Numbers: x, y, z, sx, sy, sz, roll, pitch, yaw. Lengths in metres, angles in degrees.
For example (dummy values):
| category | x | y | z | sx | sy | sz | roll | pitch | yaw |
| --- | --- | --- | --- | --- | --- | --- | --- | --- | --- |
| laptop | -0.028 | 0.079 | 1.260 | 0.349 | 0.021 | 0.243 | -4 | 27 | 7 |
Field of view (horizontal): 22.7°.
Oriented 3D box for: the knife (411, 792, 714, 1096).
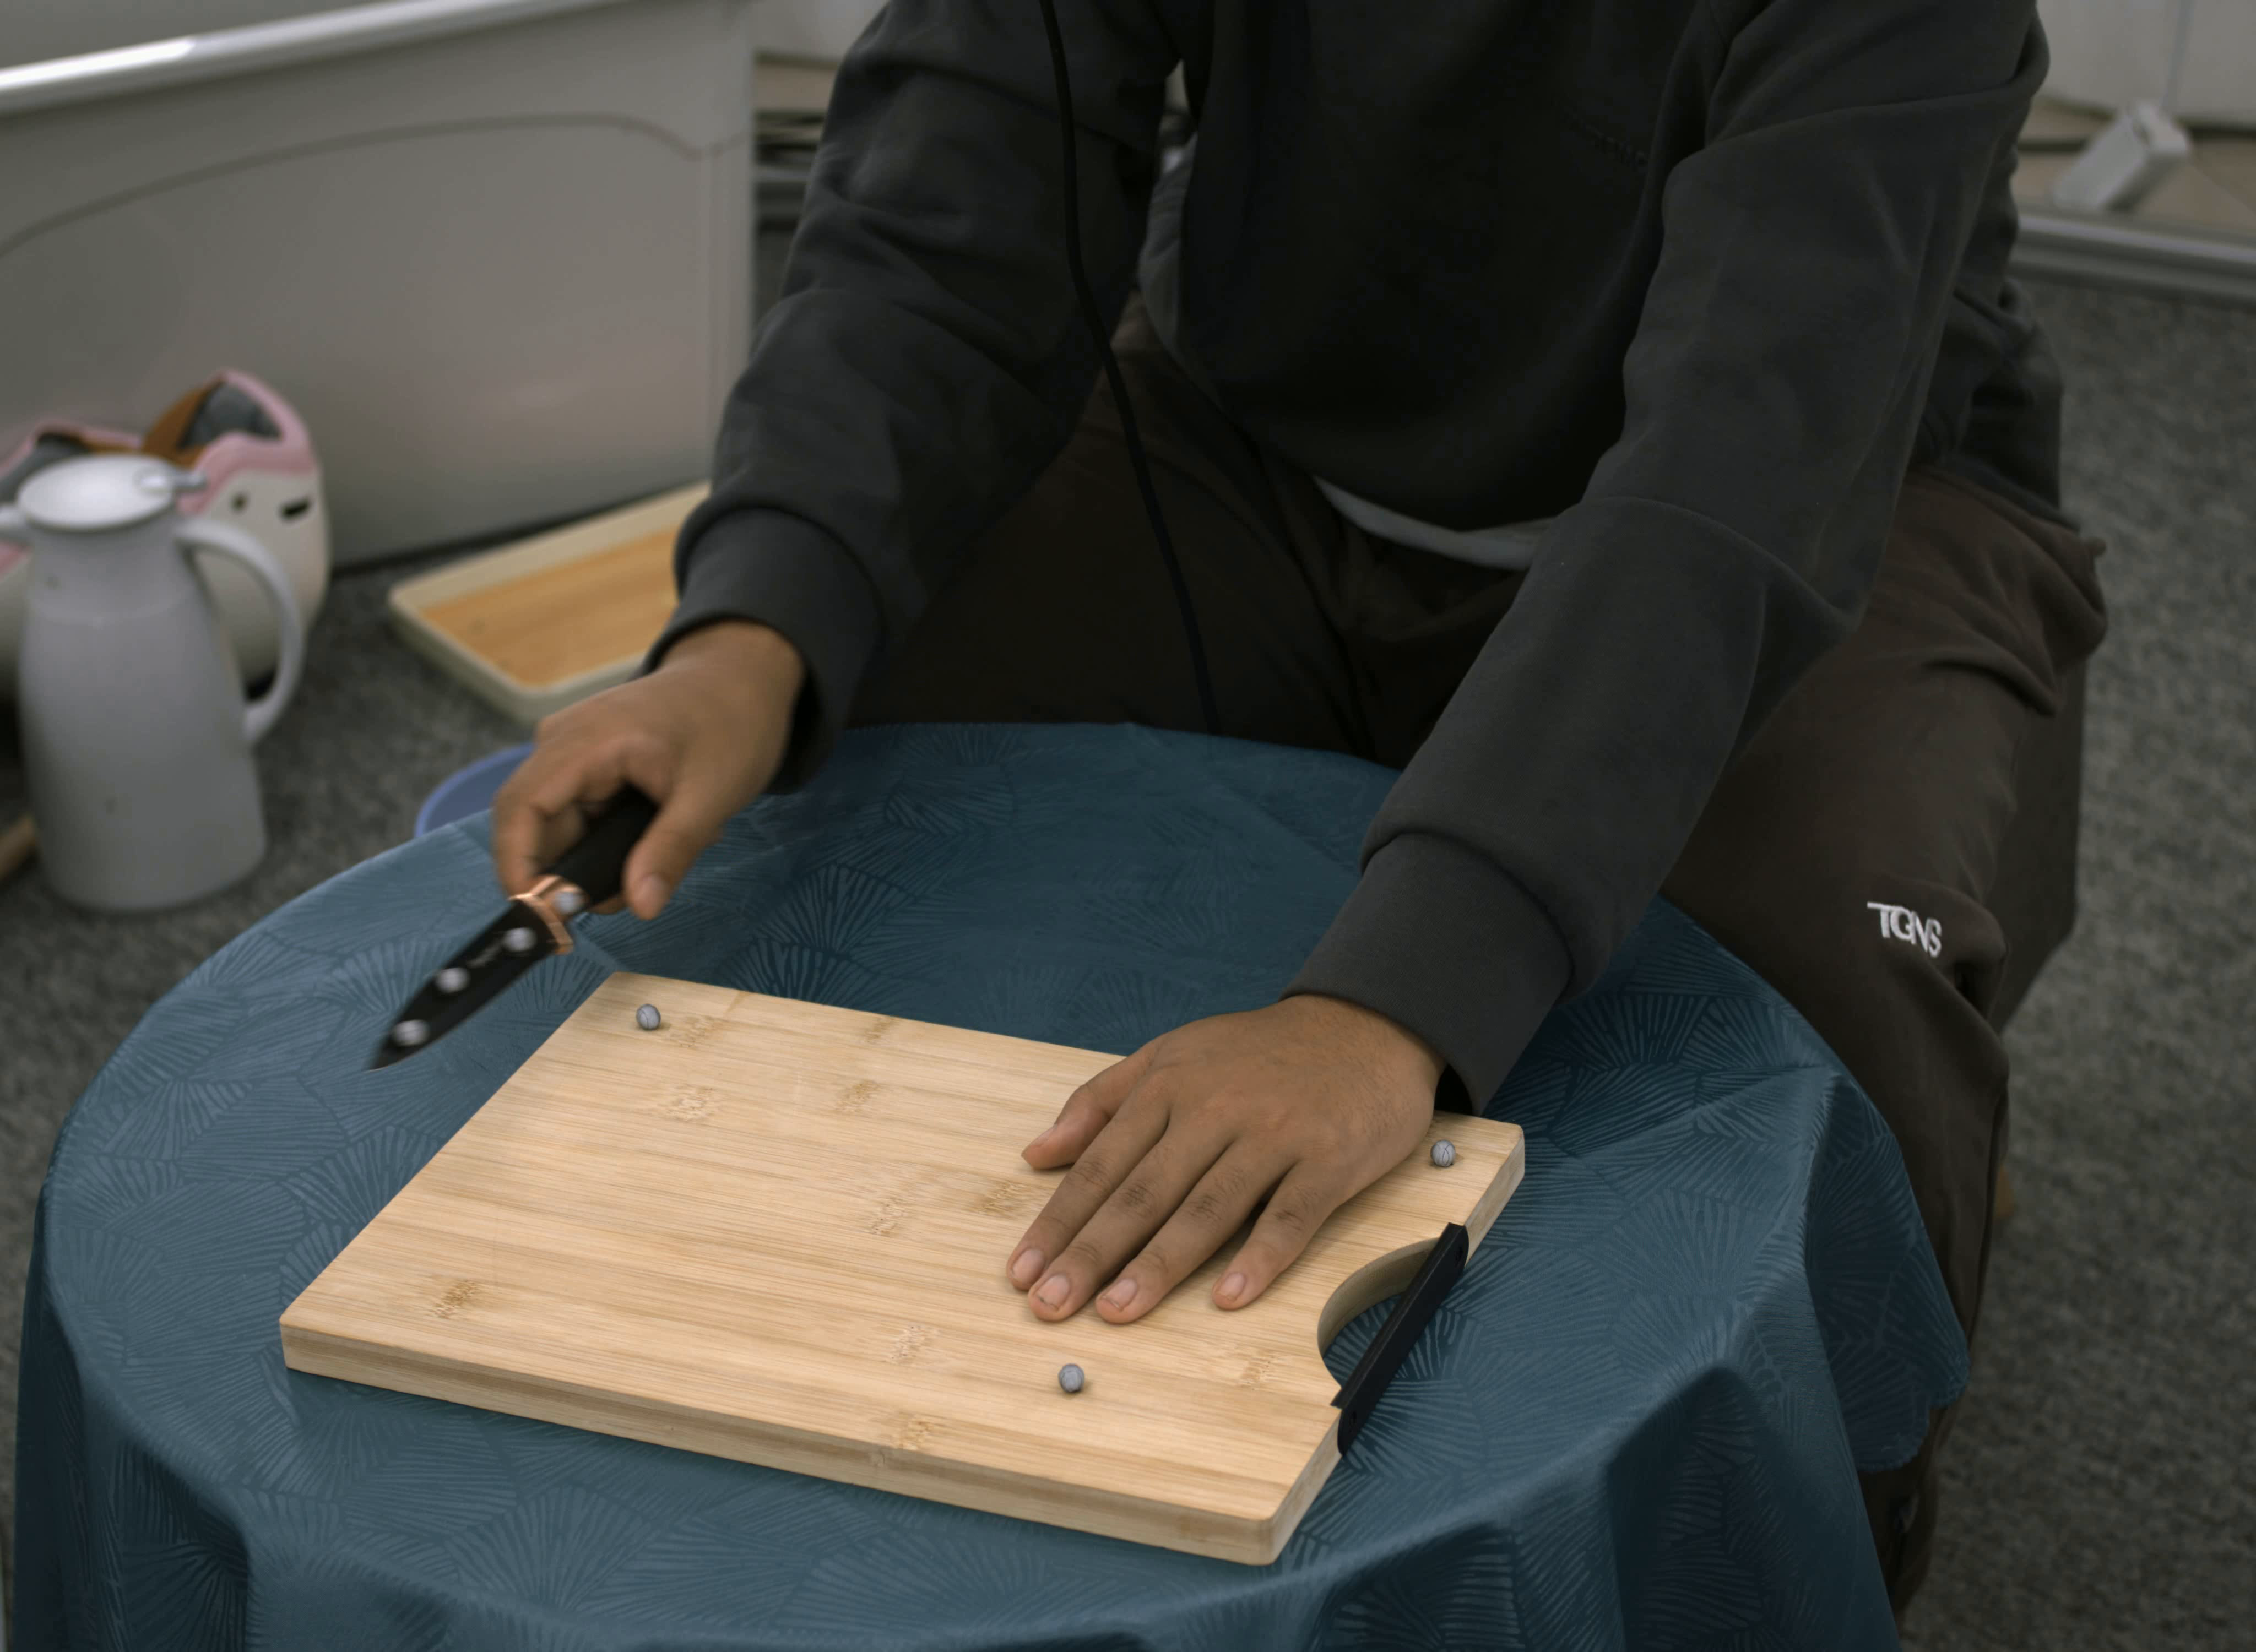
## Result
| category | x | y | z | sx | sy | sz | roll | pitch | yaw |
| --- | --- | --- | --- | --- | --- | --- | --- | --- | --- |
| knife | -0.194 | 0.038 | 1.921 | 0.017 | 0.026 | 0.229 | -40 | 4 | 32 |

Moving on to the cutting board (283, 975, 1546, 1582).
| category | x | y | z | sx | sy | sz | roll | pitch | yaw |
| --- | --- | --- | --- | --- | --- | --- | --- | --- | --- |
| cutting board | -0.065 | 0.138 | 1.821 | 0.346 | 0.023 | 0.255 | 8 | 30 | 20 |
